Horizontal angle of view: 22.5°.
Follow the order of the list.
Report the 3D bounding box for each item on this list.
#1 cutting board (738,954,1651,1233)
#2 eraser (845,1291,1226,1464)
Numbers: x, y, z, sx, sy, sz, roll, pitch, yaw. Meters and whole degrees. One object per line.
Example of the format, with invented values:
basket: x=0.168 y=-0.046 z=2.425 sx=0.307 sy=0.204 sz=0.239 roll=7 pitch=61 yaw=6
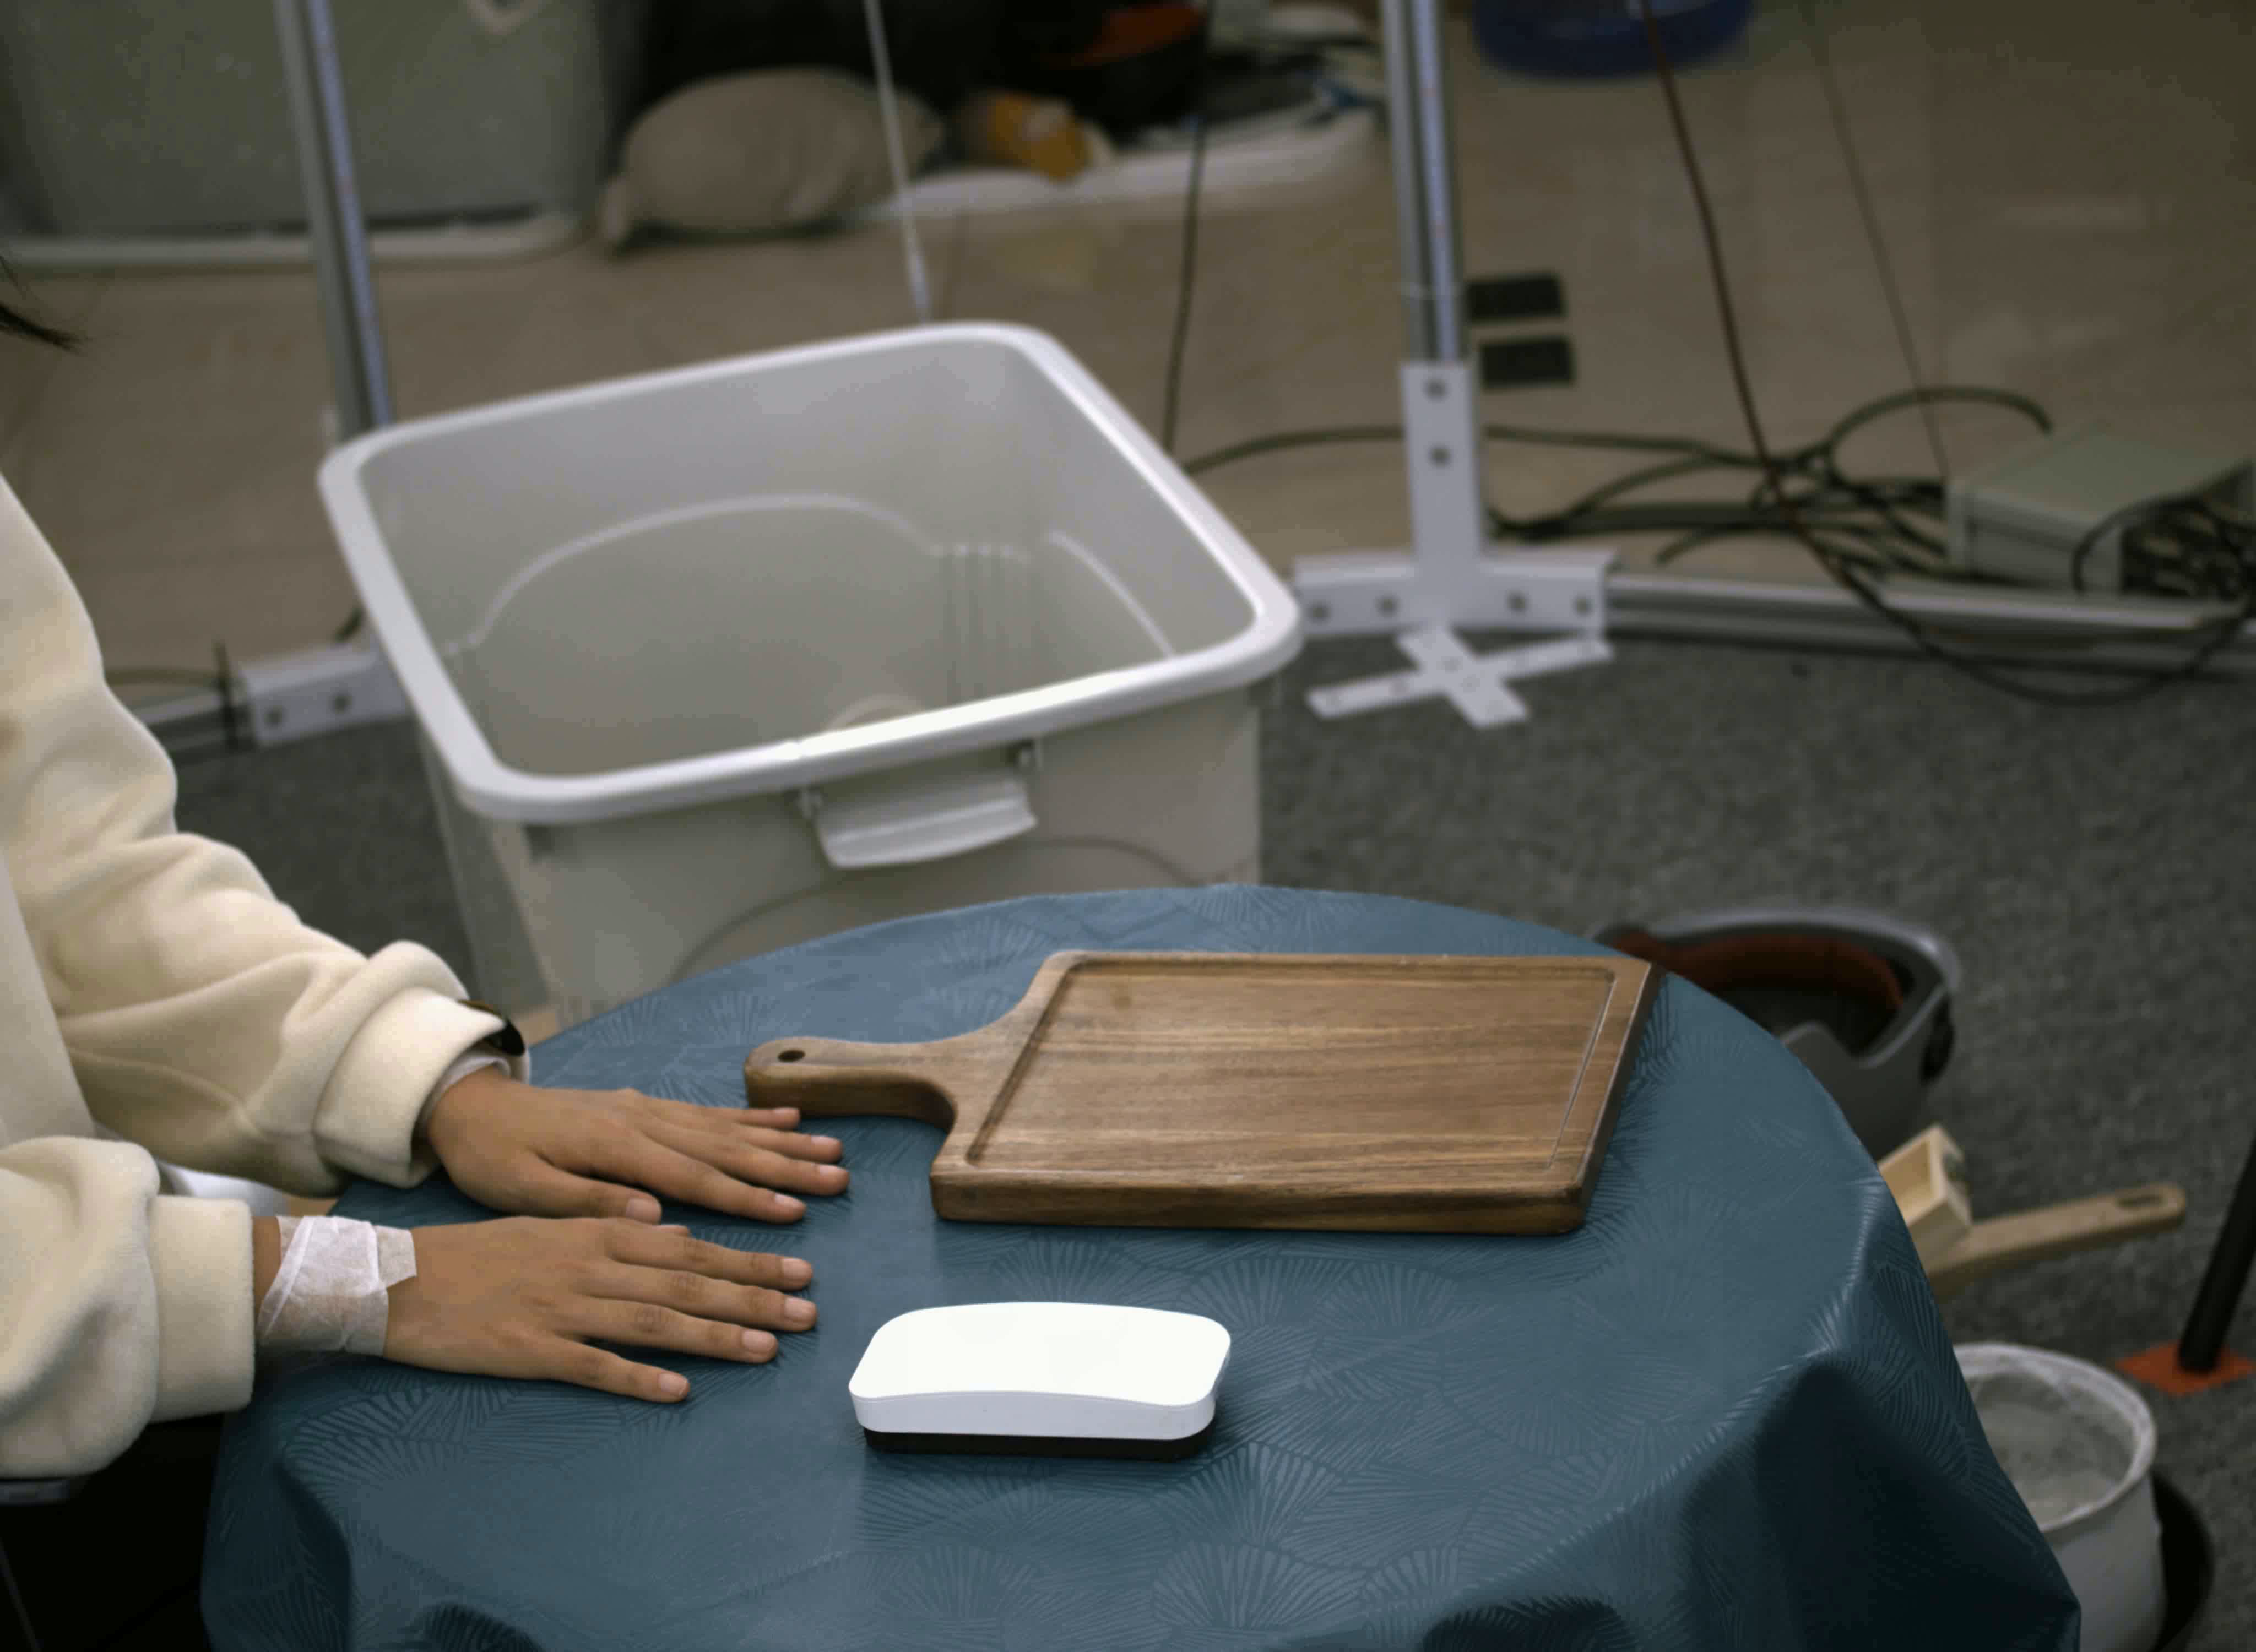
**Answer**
cutting board: x=0.018 y=0.100 z=2.201 sx=0.351 sy=0.023 sz=0.198 roll=0 pitch=25 yaw=14
eraser: x=-0.032 y=0.195 z=1.999 sx=0.131 sy=0.035 sz=0.062 roll=1 pitch=27 yaw=15
